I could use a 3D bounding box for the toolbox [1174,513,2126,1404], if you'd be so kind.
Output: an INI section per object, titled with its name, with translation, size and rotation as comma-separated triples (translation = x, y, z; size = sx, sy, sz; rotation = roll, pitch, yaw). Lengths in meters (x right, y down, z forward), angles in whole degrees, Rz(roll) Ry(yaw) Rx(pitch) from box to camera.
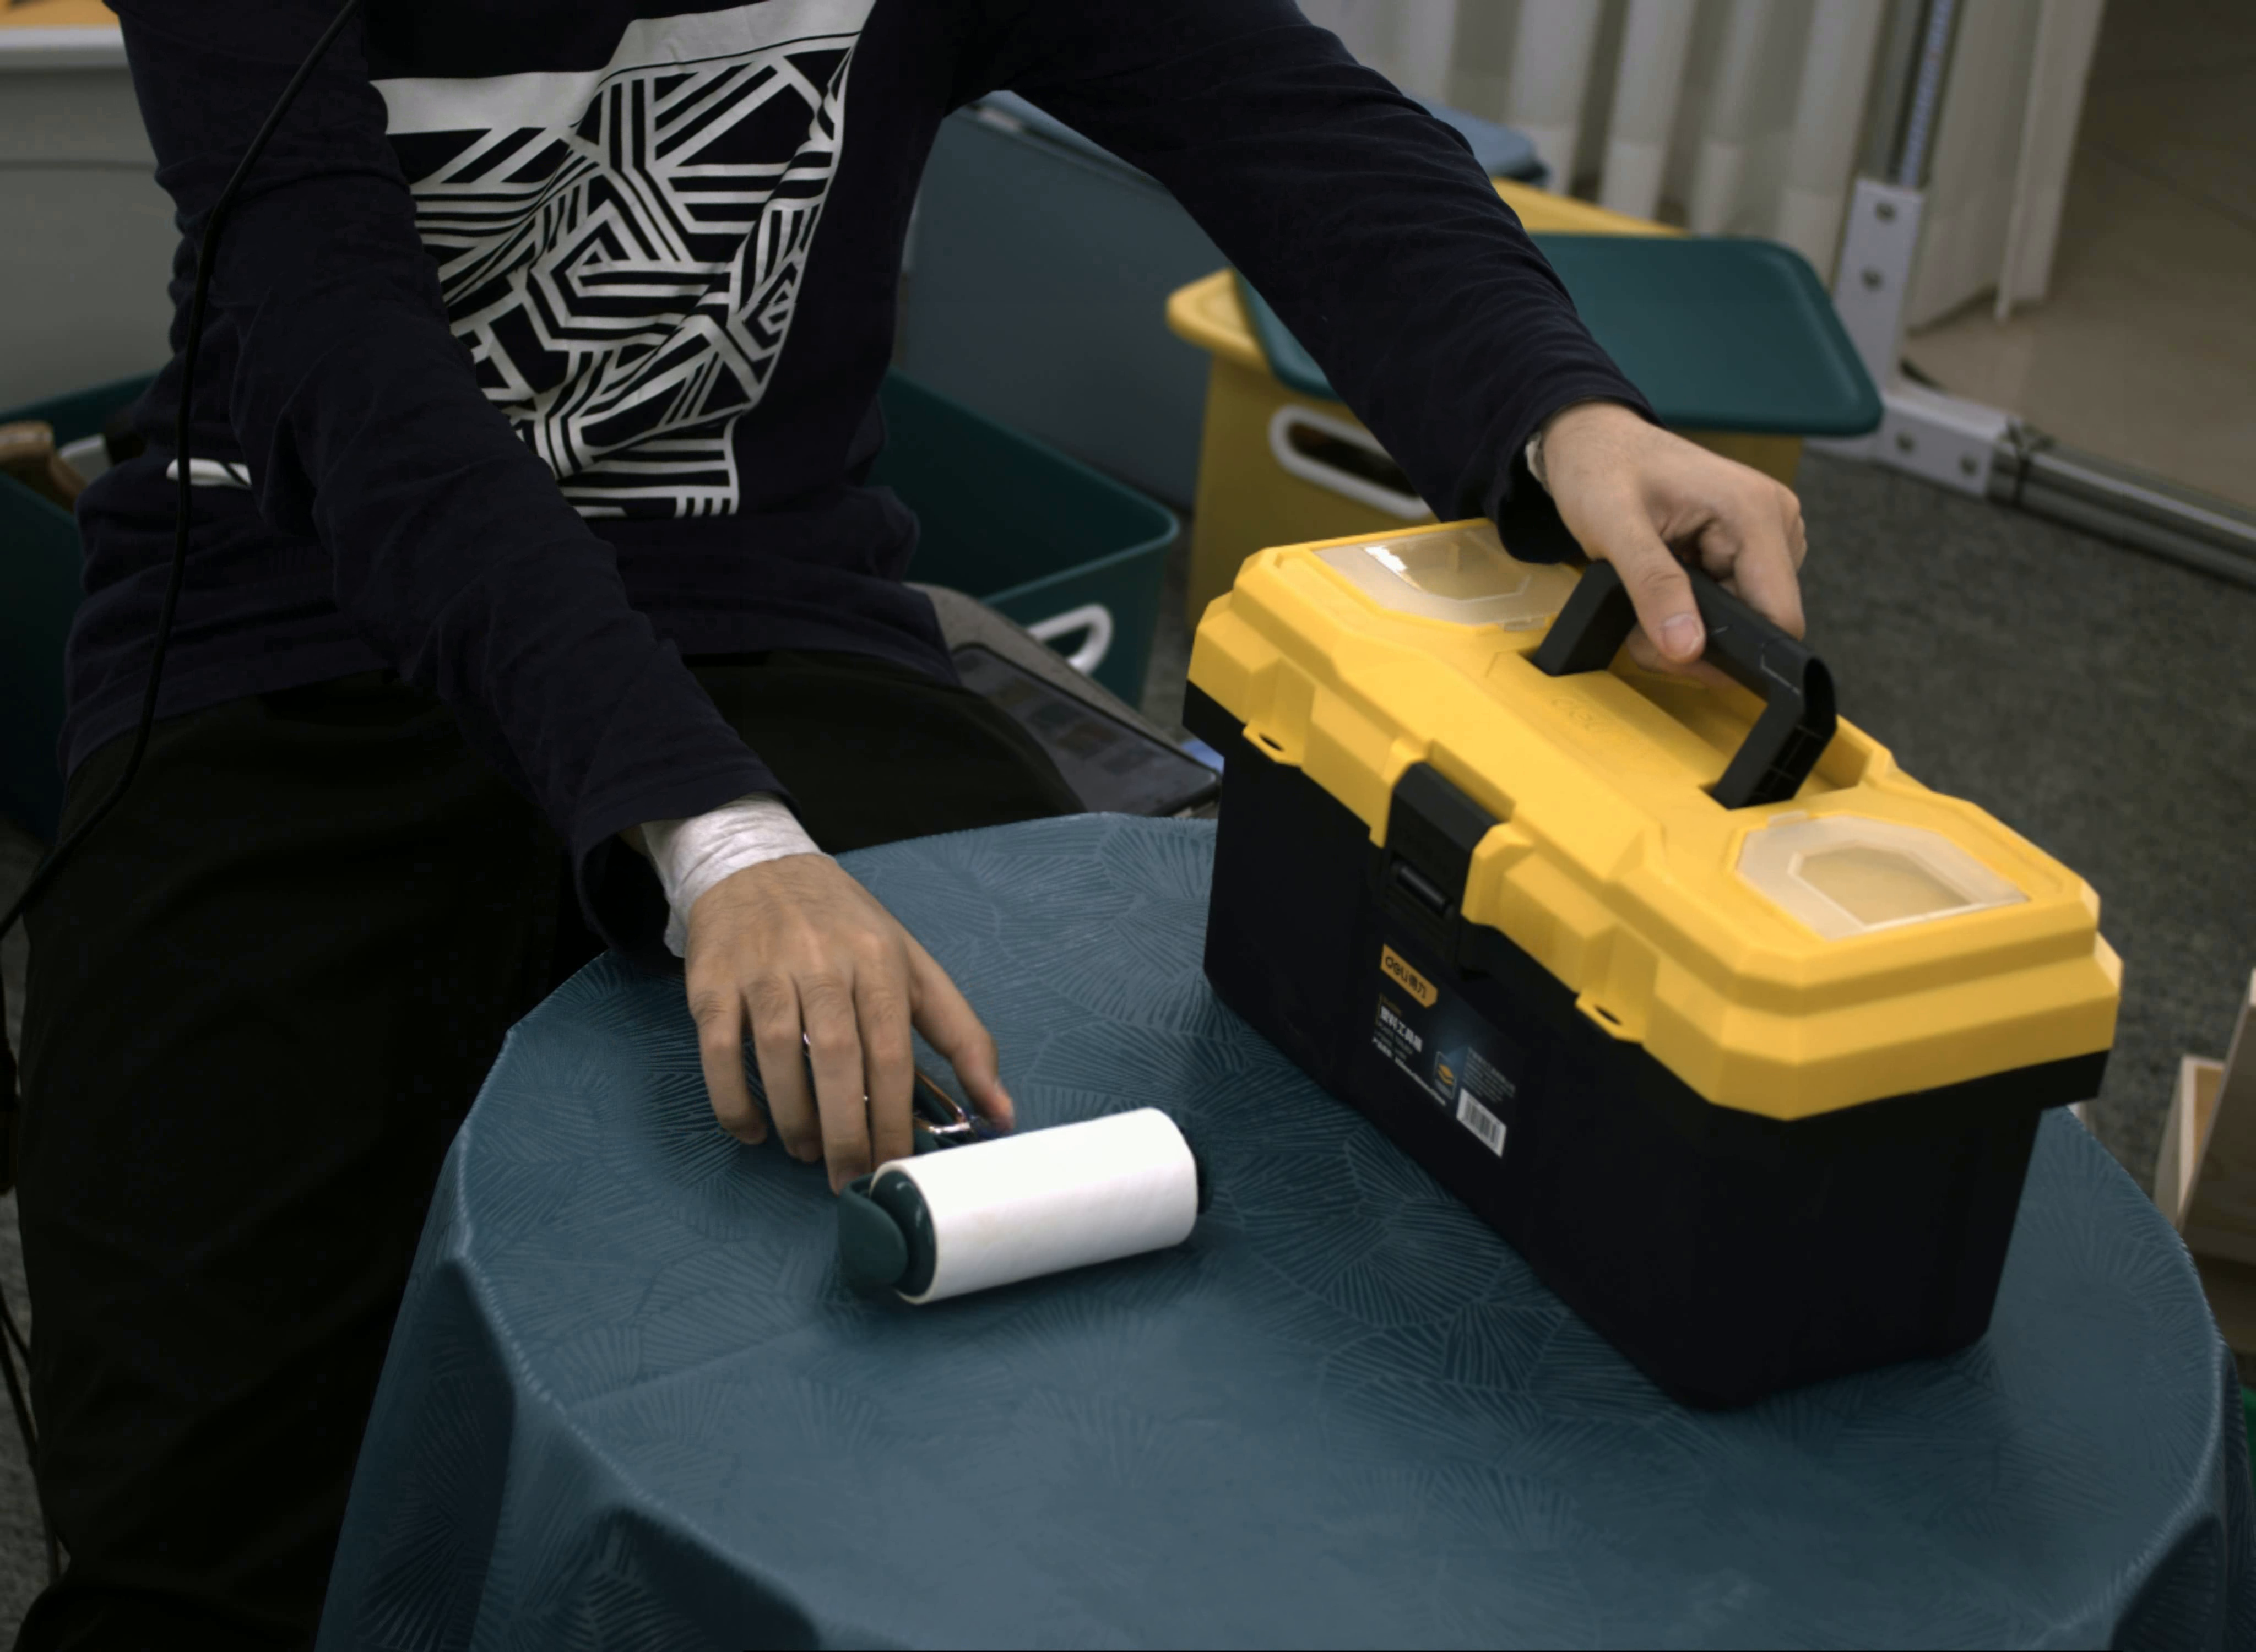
[toolbox]
translation = 0.164, 0.038, 1.819
size = 0.180, 0.172, 0.354
rotation = -9, 30, -30

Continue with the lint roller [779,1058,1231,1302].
[lint roller]
translation = -0.067, 0.099, 1.797
size = 0.133, 0.048, 0.181
rotation = -11, 28, -30
